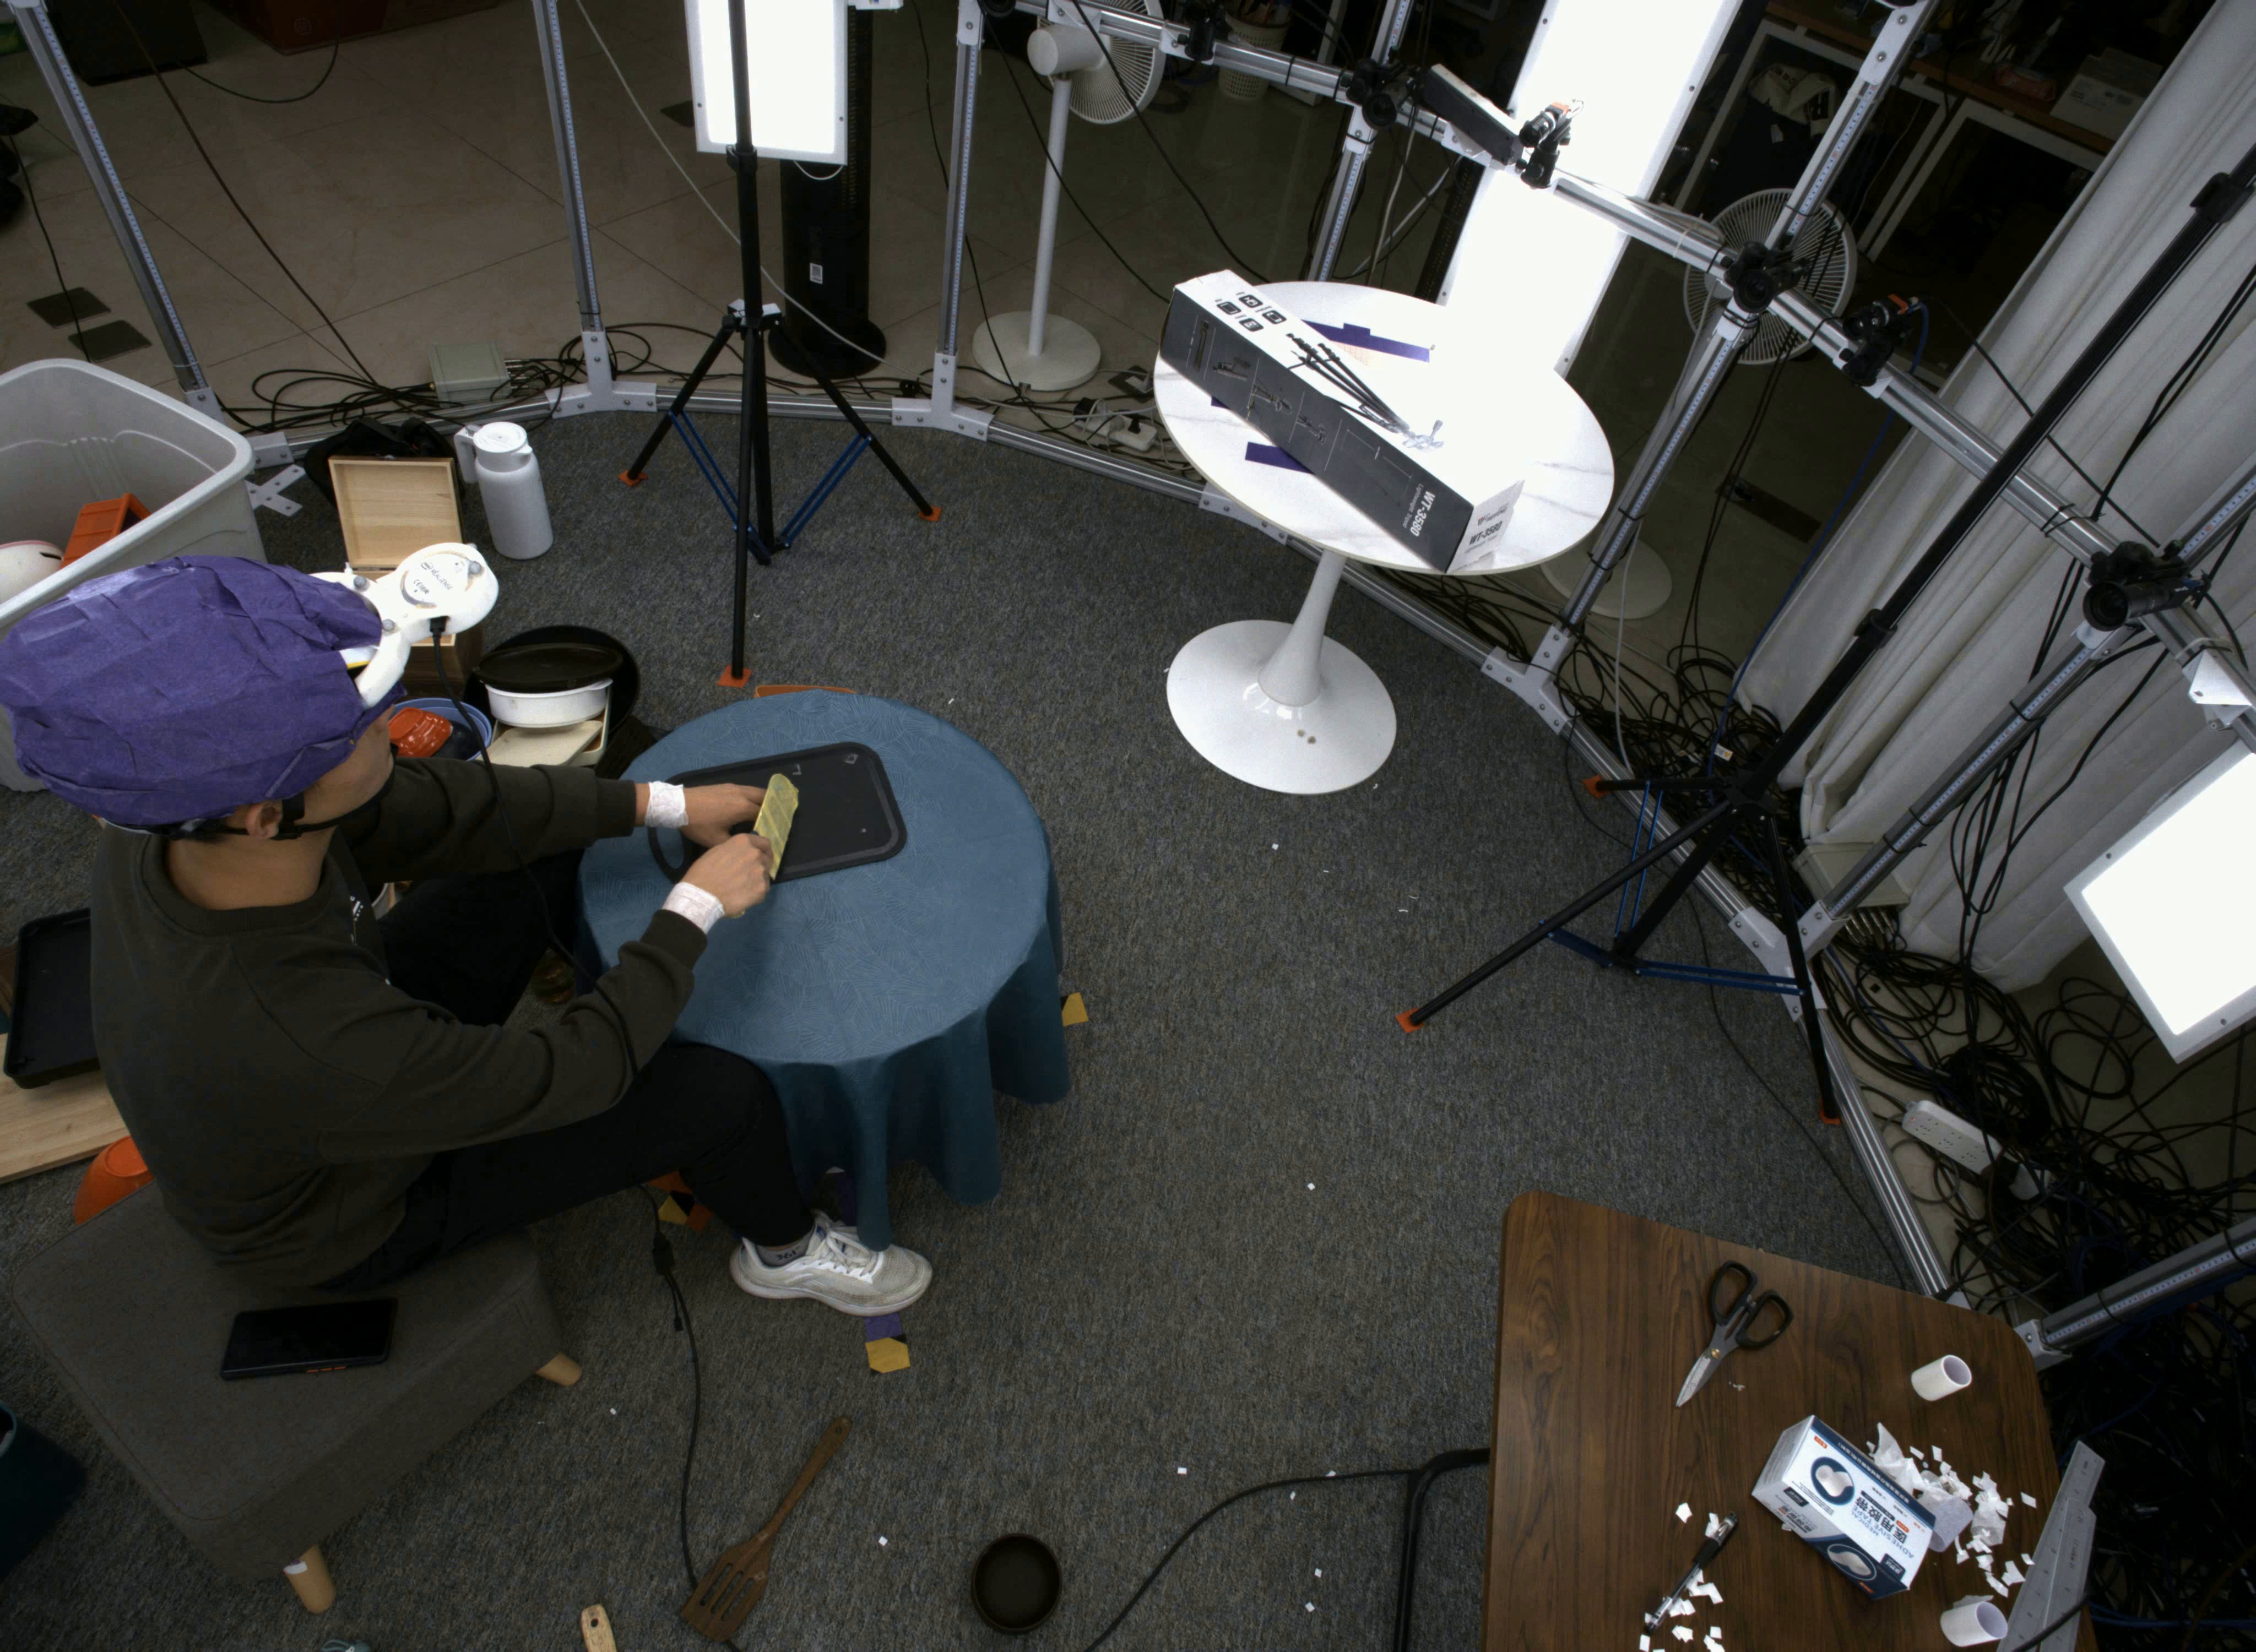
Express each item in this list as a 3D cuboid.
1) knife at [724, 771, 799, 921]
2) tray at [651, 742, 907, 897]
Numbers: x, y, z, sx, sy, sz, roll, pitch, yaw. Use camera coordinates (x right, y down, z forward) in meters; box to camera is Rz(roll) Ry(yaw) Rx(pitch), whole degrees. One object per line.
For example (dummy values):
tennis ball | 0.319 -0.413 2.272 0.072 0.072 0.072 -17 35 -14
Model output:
knife | -0.453 0.025 1.623 0.027 0.084 0.283 -10 36 11
tray | -0.469 -0.013 1.728 0.327 0.010 0.206 -13 58 -23
